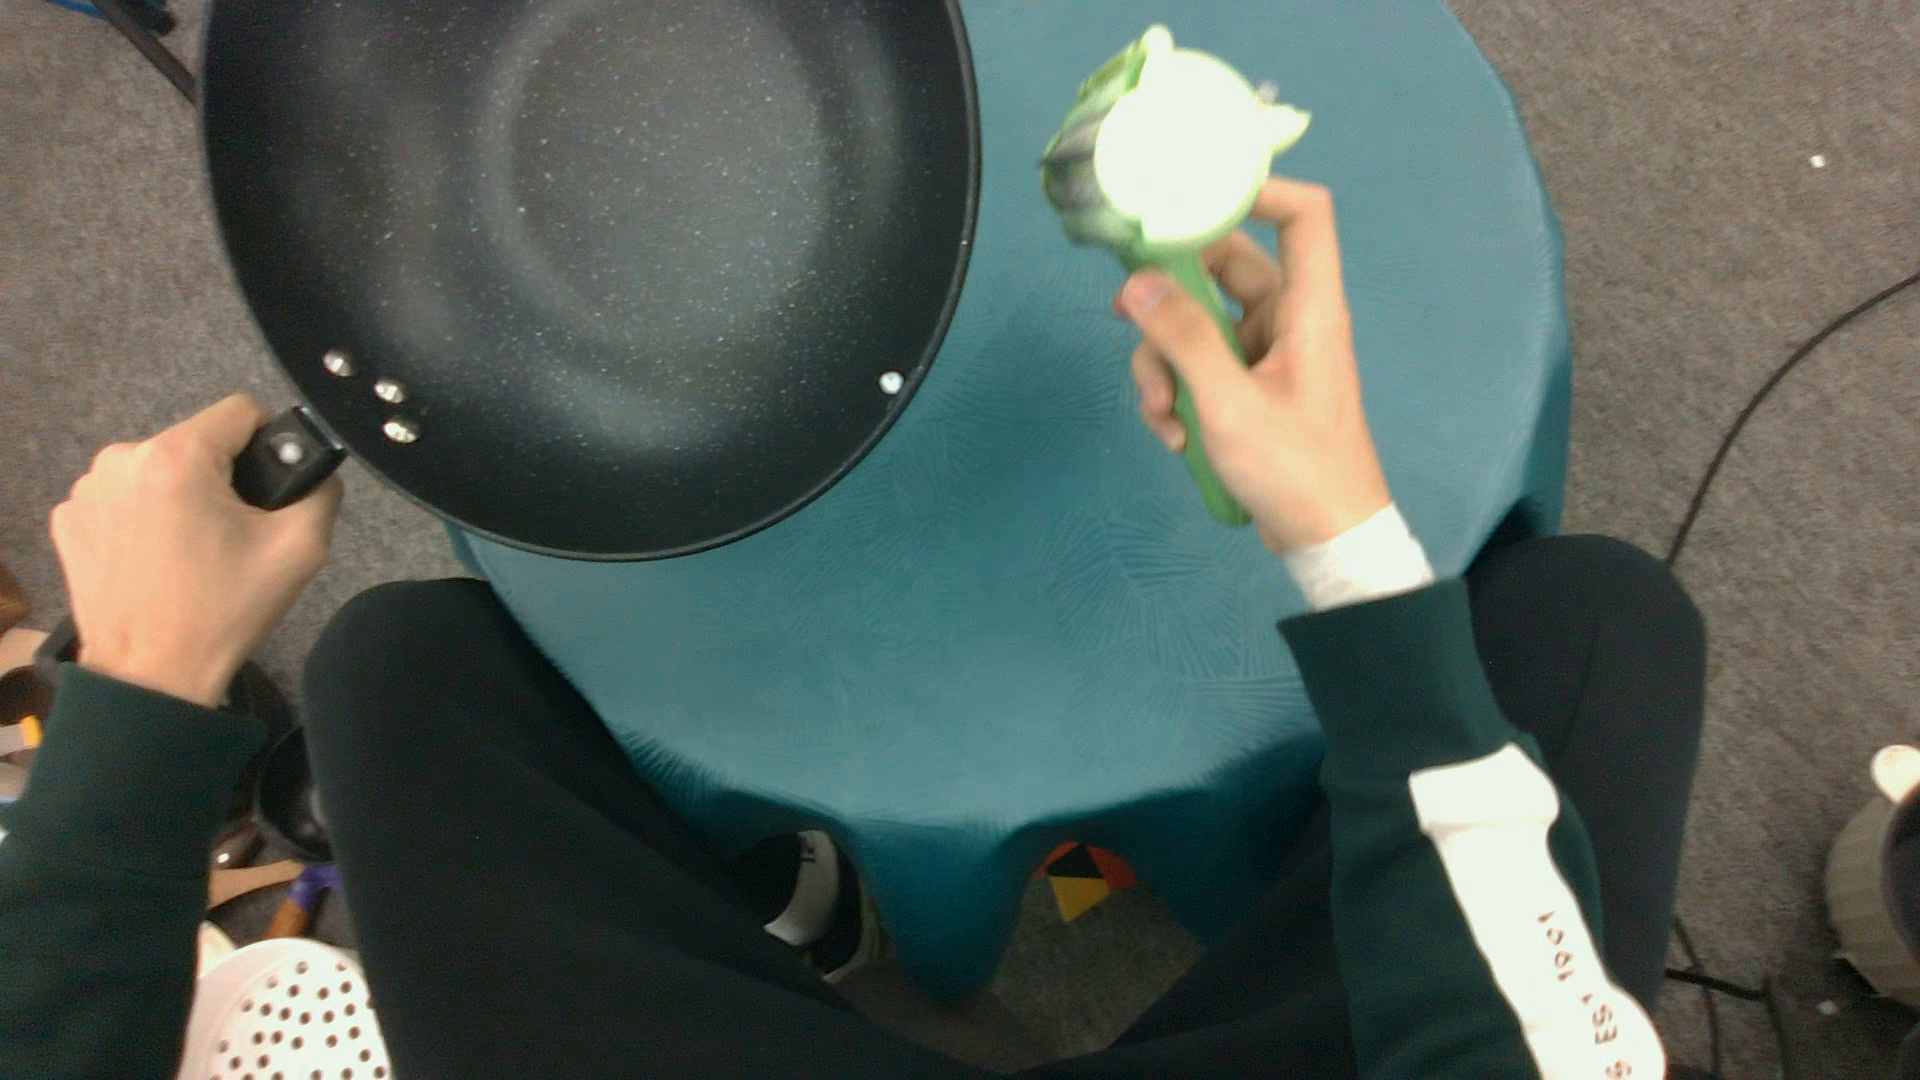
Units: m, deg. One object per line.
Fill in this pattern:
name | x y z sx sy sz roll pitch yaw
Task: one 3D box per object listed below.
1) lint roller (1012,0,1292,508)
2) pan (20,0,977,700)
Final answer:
lint roller | 0.090 -0.106 0.515 0.082 0.199 0.183 -30 103 3
pan | -0.200 -0.102 0.555 0.475 0.112 0.310 -42 90 15
